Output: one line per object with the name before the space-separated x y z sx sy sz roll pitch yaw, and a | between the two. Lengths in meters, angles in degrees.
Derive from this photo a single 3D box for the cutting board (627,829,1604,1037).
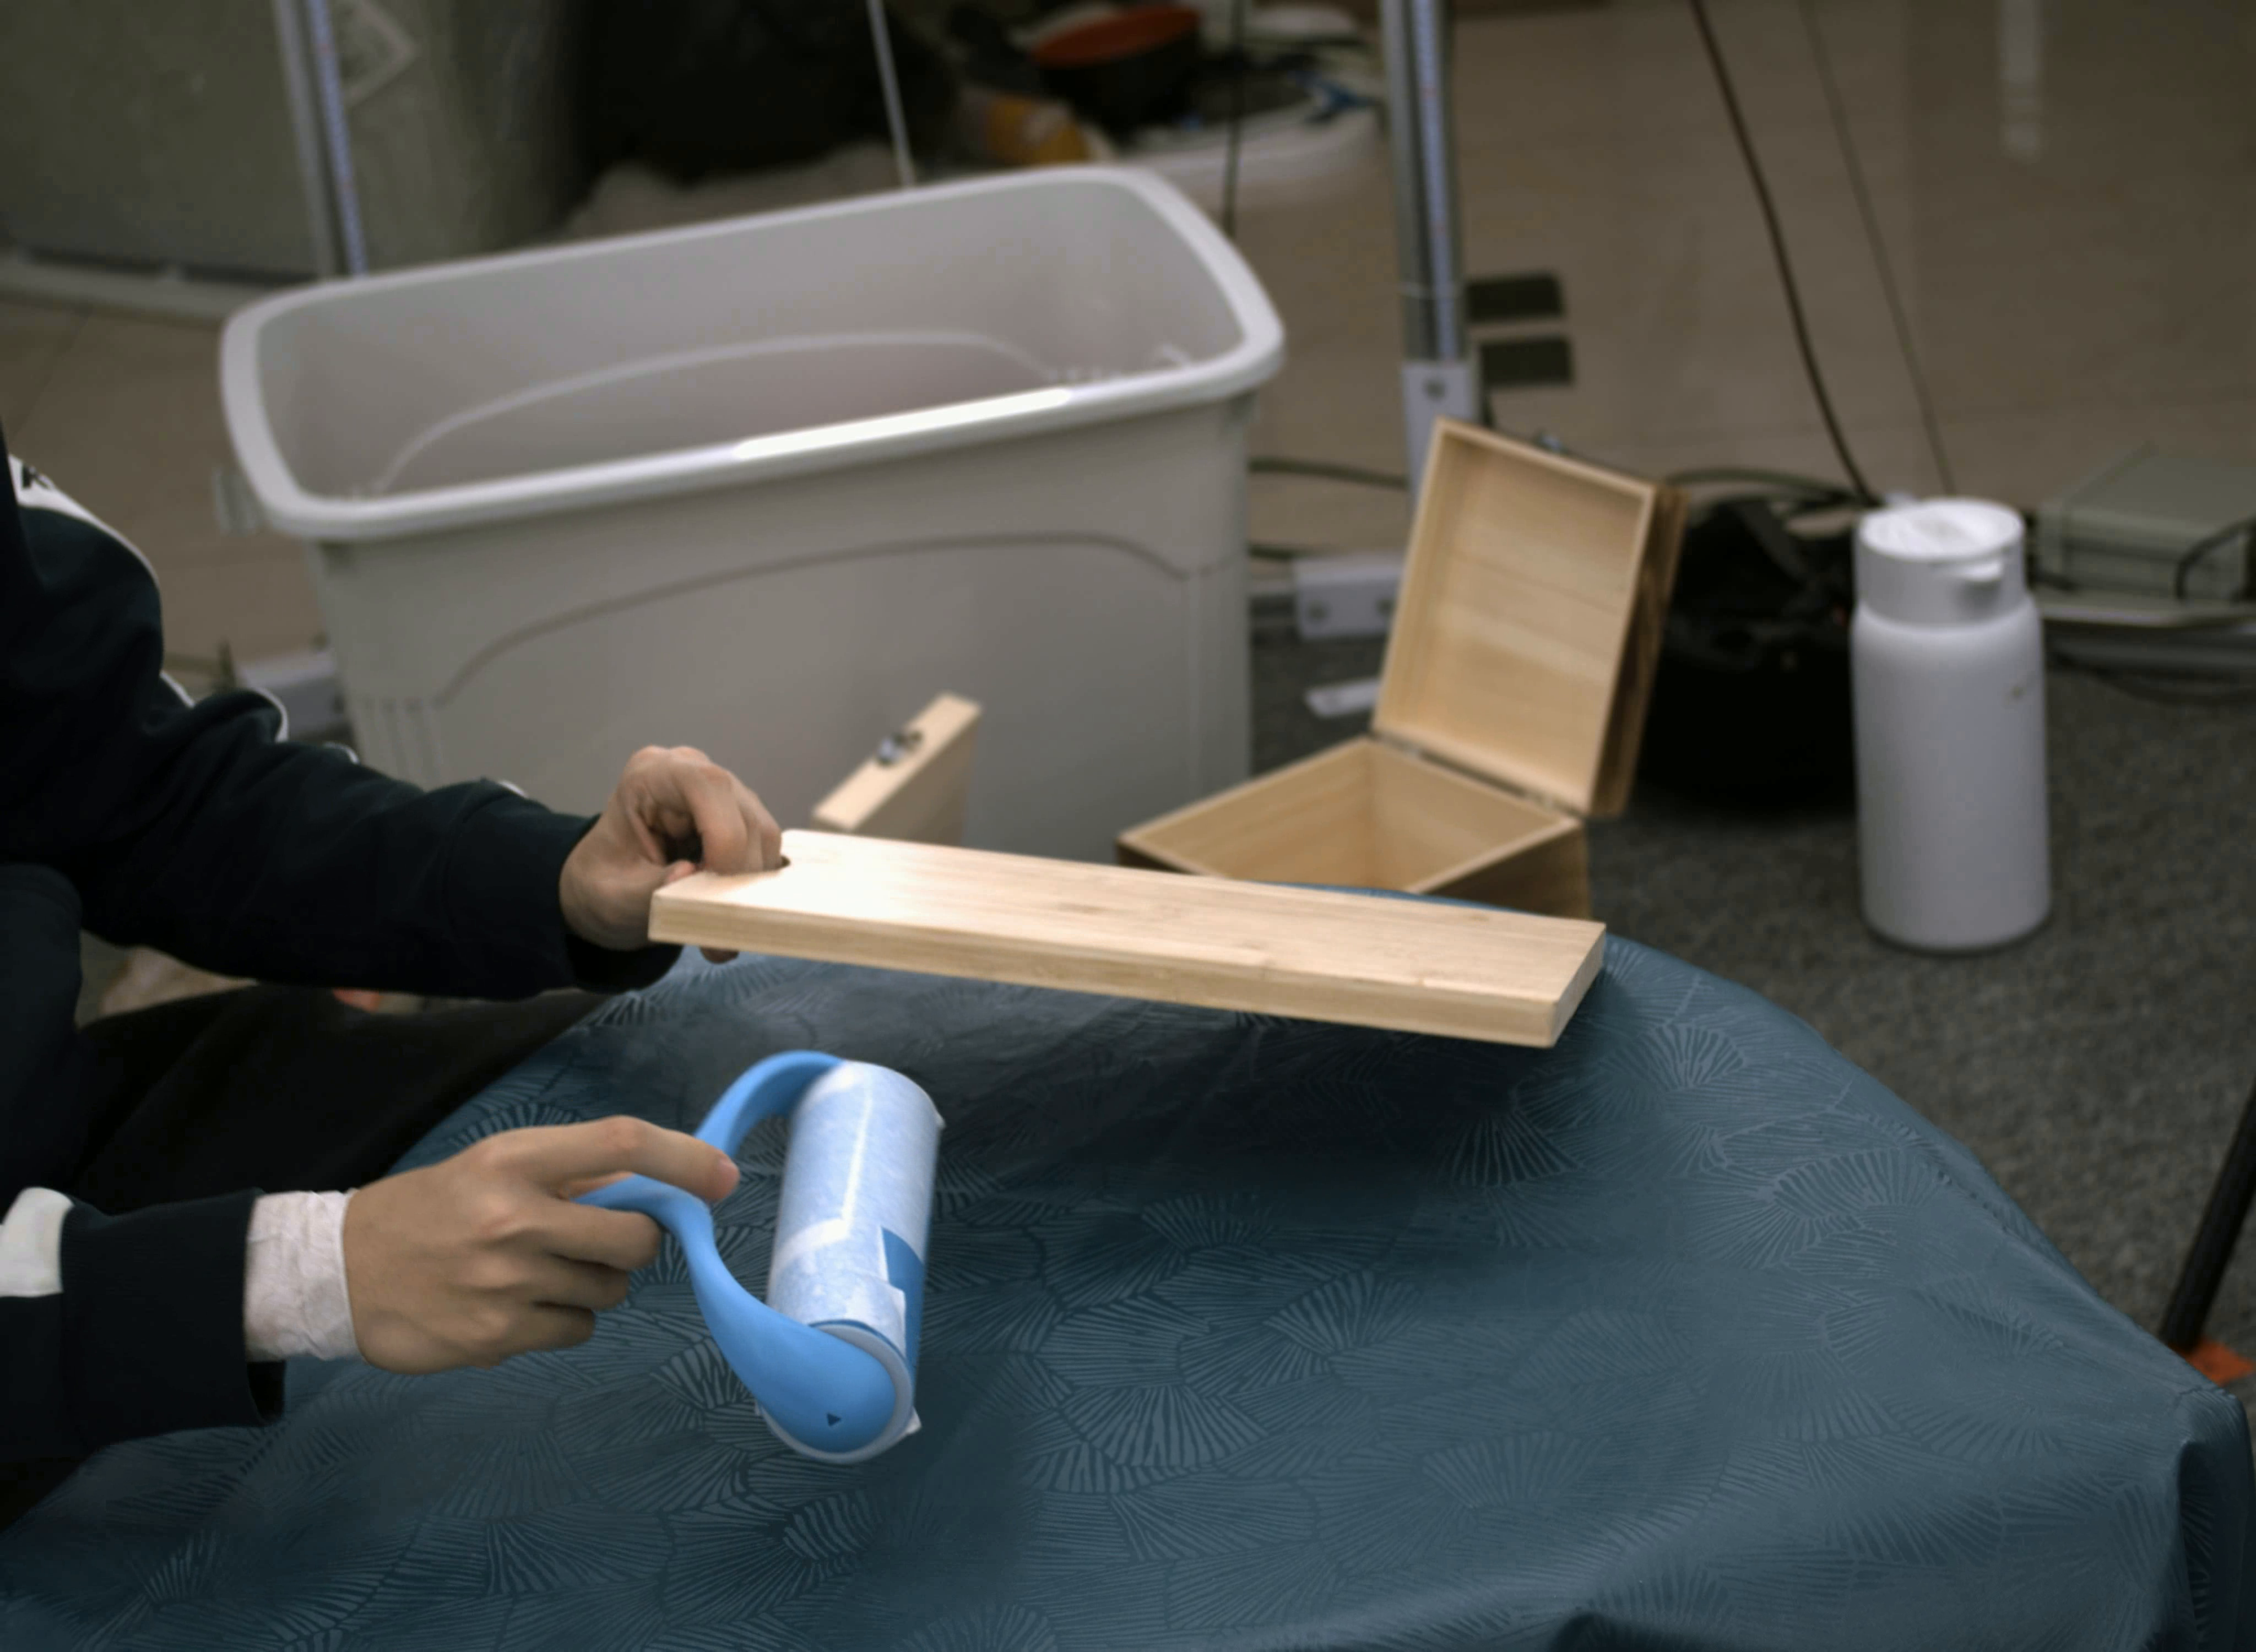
cutting board | 0.002 0.040 2.186 0.348 0.024 0.250 6 6 8

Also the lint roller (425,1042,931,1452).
lint roller | -0.156 0.148 1.956 0.180 0.069 0.225 -4 26 -1
